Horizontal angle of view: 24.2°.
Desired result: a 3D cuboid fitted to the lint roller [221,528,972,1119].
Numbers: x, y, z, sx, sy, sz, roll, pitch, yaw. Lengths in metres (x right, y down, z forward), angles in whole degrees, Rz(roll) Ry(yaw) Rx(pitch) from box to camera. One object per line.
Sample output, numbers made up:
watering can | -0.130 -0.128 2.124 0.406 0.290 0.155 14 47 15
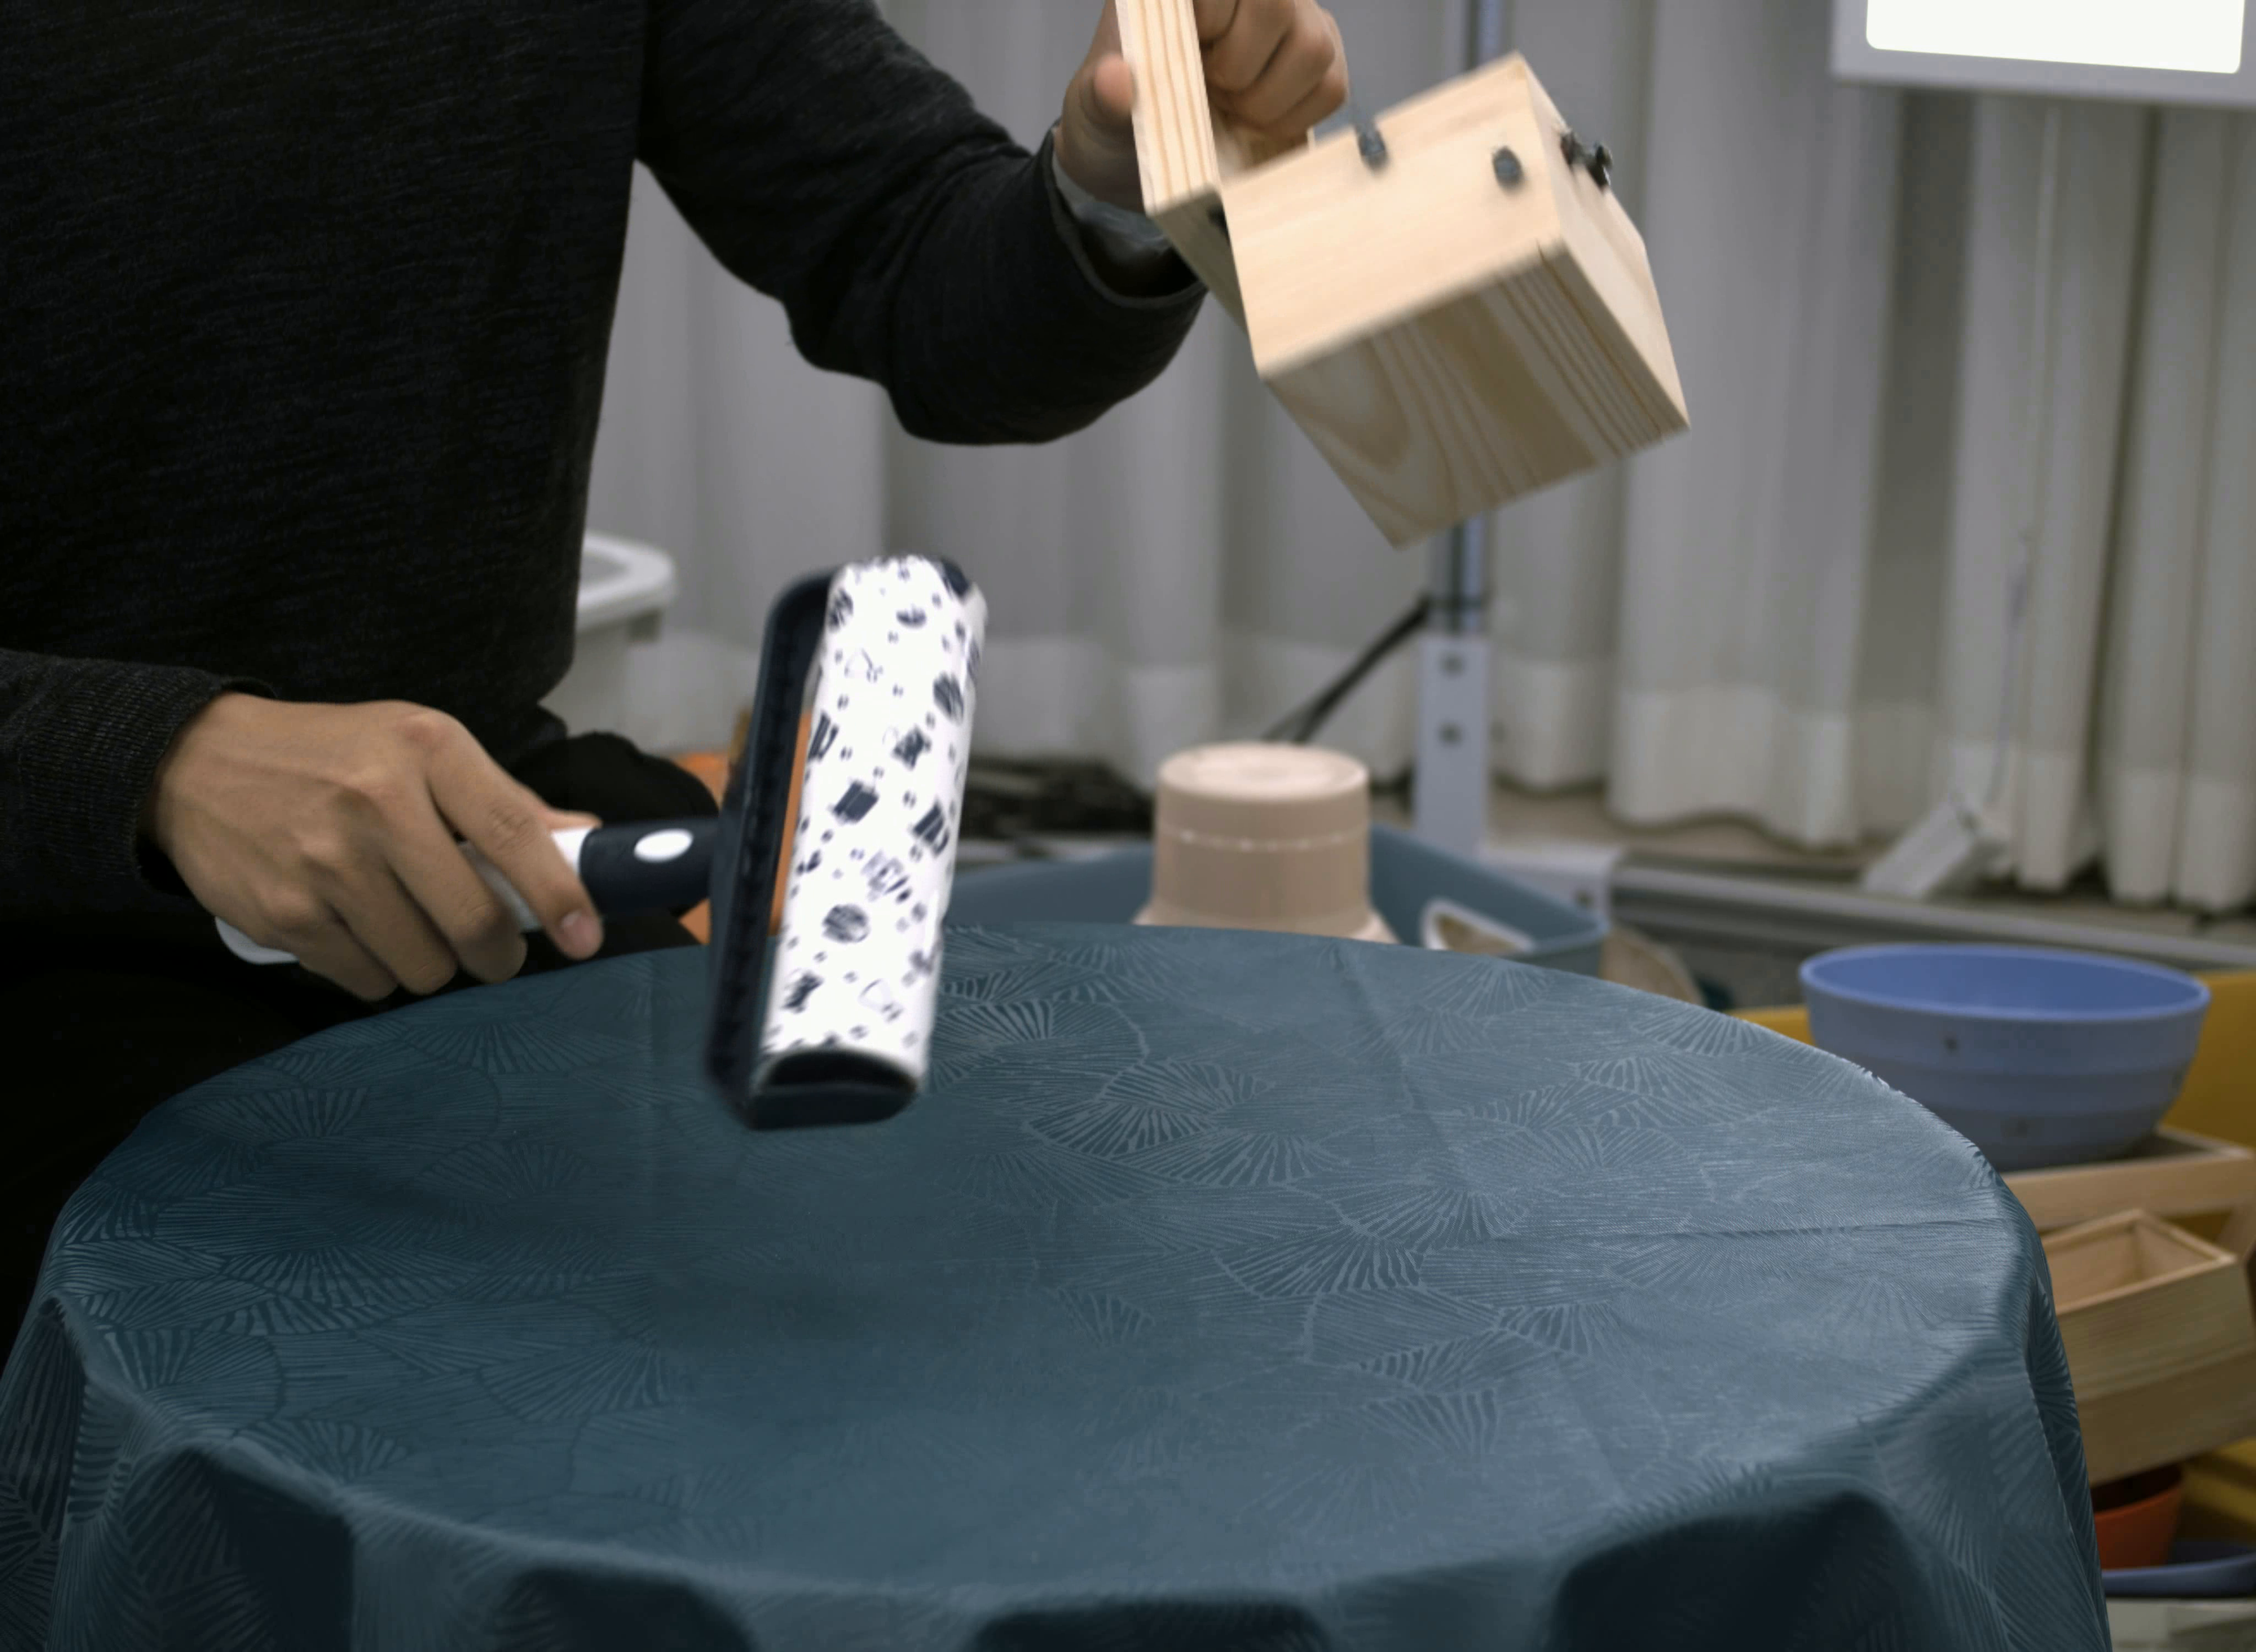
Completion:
lint roller | -0.164 0.011 1.551 0.245 0.175 0.051 -8 -26 21

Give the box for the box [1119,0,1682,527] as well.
box | 0.083 -0.203 1.623 0.133 0.104 0.182 -22 50 16
